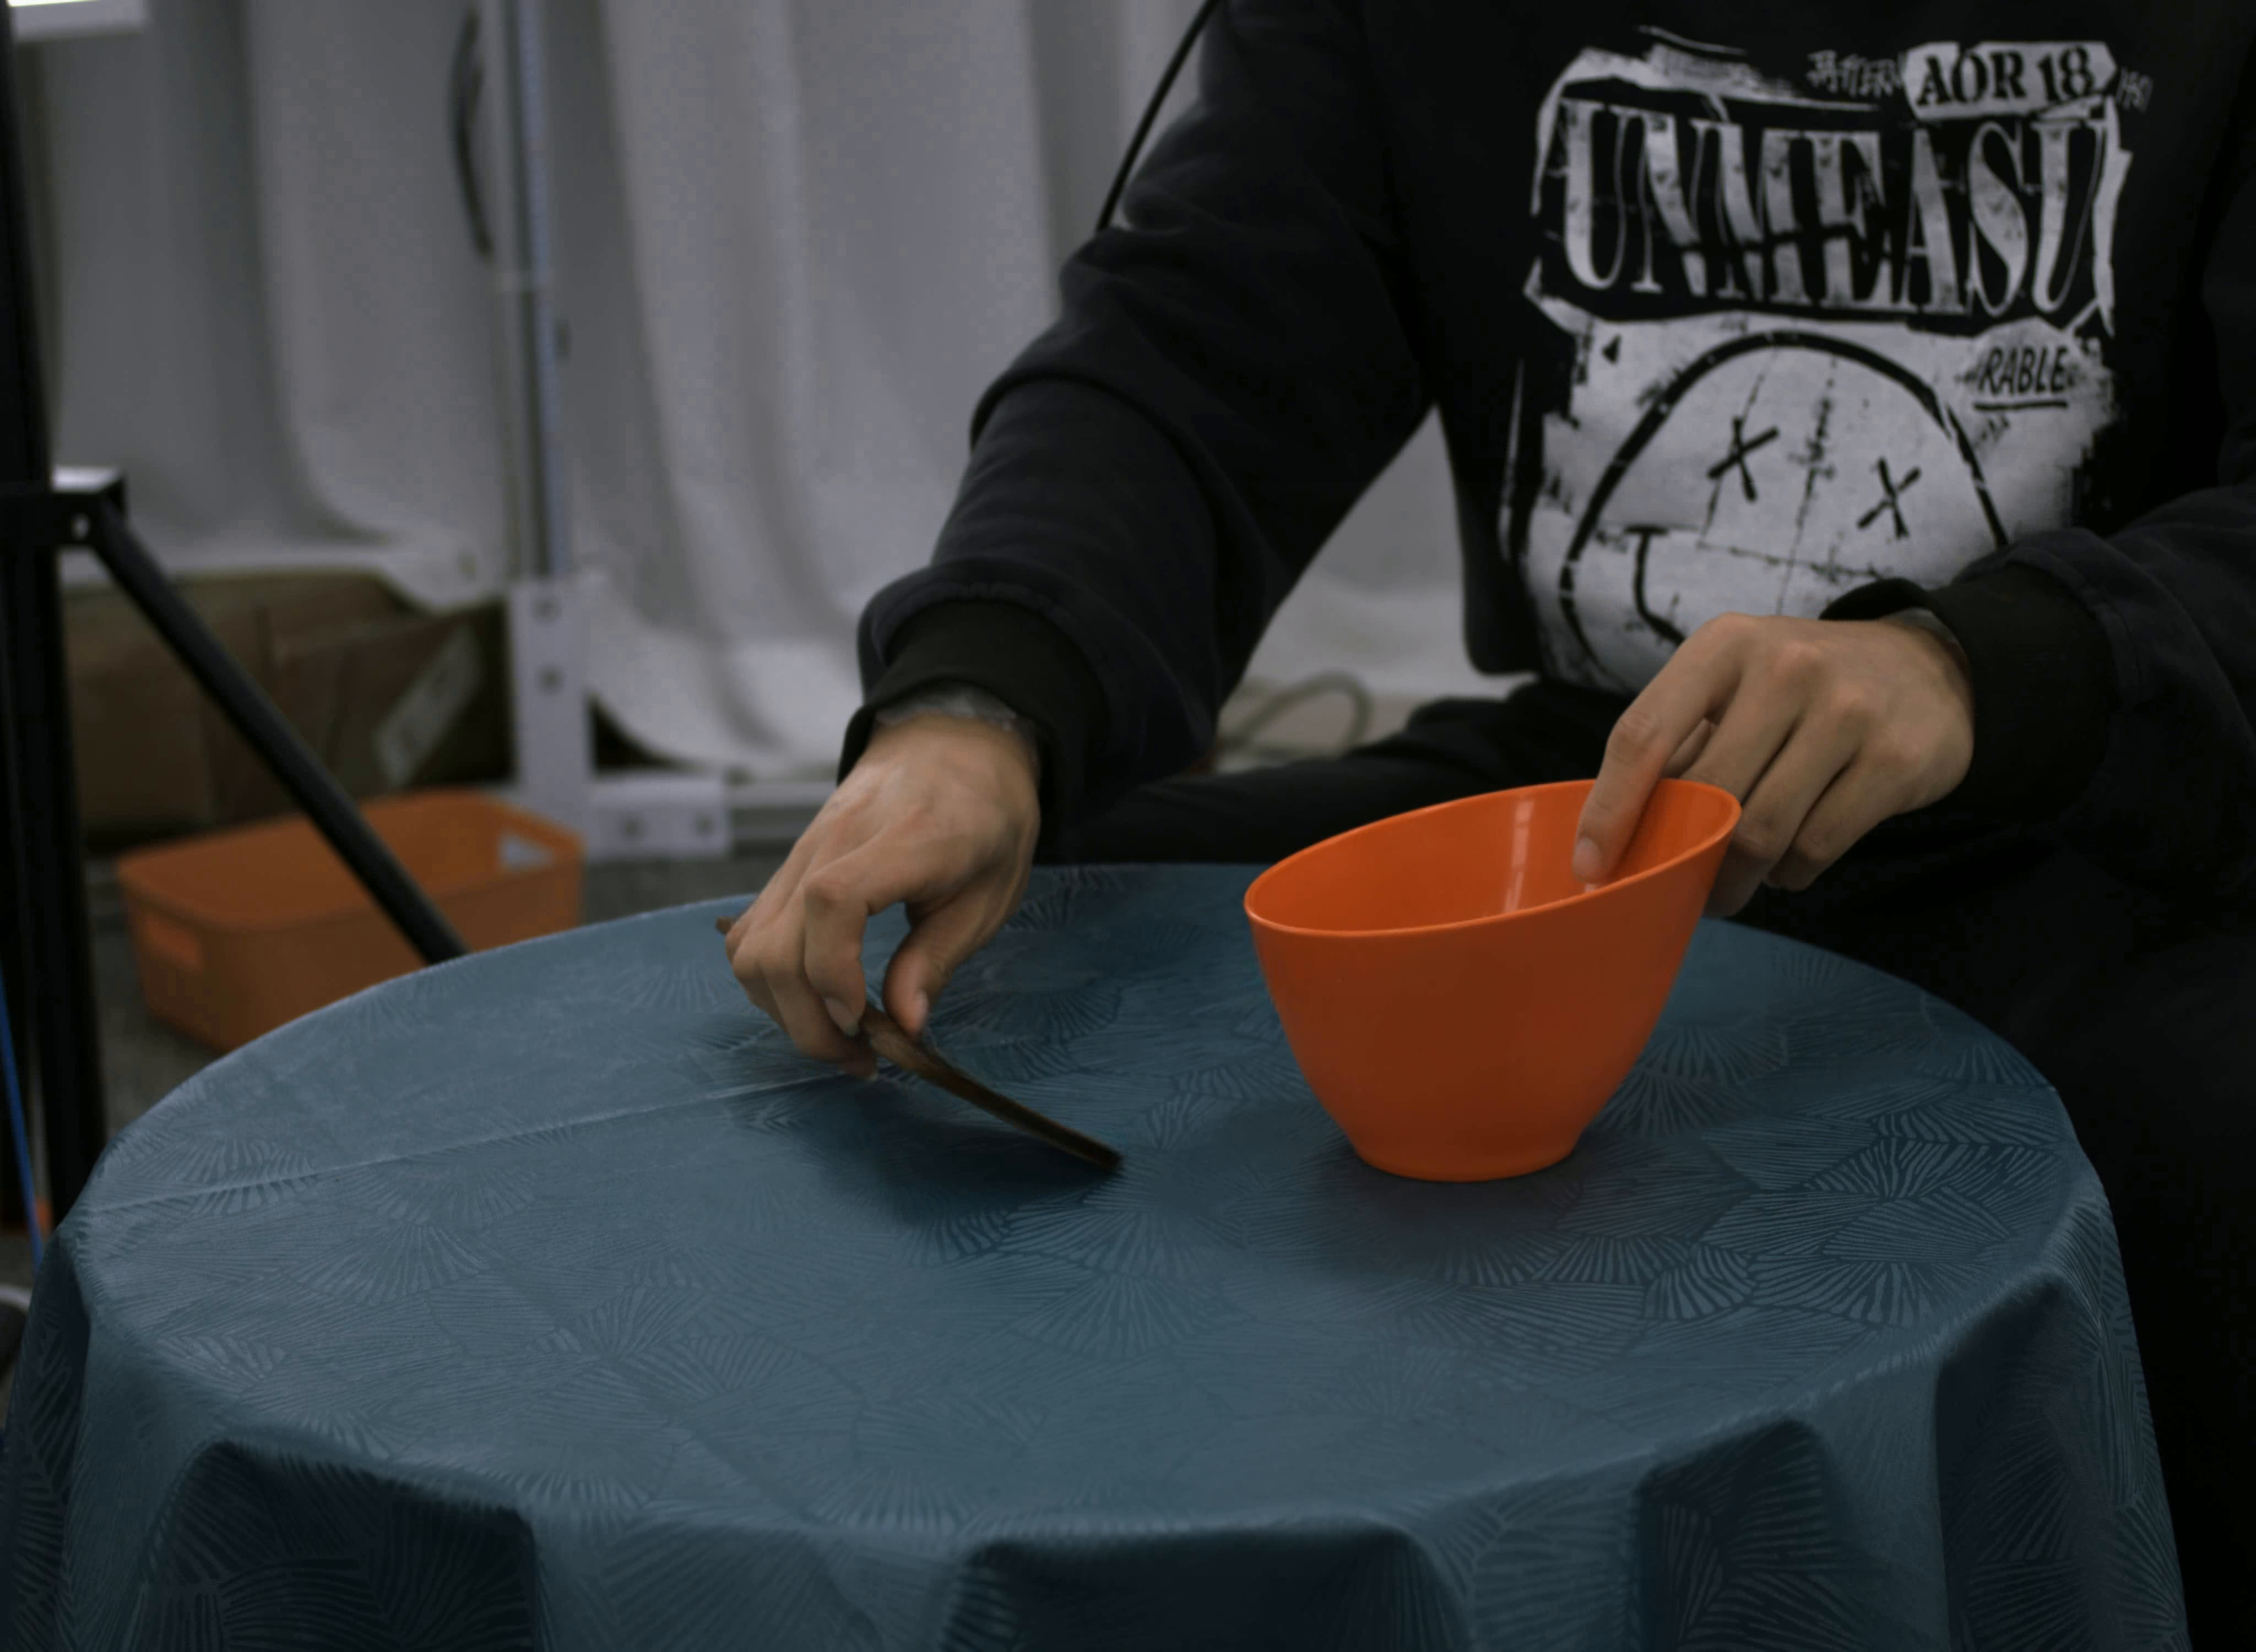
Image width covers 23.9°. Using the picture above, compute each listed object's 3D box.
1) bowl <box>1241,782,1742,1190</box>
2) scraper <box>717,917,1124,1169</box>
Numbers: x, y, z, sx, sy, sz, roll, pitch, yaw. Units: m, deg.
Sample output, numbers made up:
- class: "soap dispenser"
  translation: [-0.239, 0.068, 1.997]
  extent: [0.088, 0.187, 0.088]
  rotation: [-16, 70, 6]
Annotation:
- class: "bowl"
  translation: [0.107, 0.049, 1.564]
  extent: [0.147, 0.104, 0.149]
  rotation: [-3, 17, 0]
- class: "scraper"
  translation: [-0.075, 0.063, 1.641]
  extent: [0.074, 0.011, 0.216]
  rotation: [28, 1, -32]
